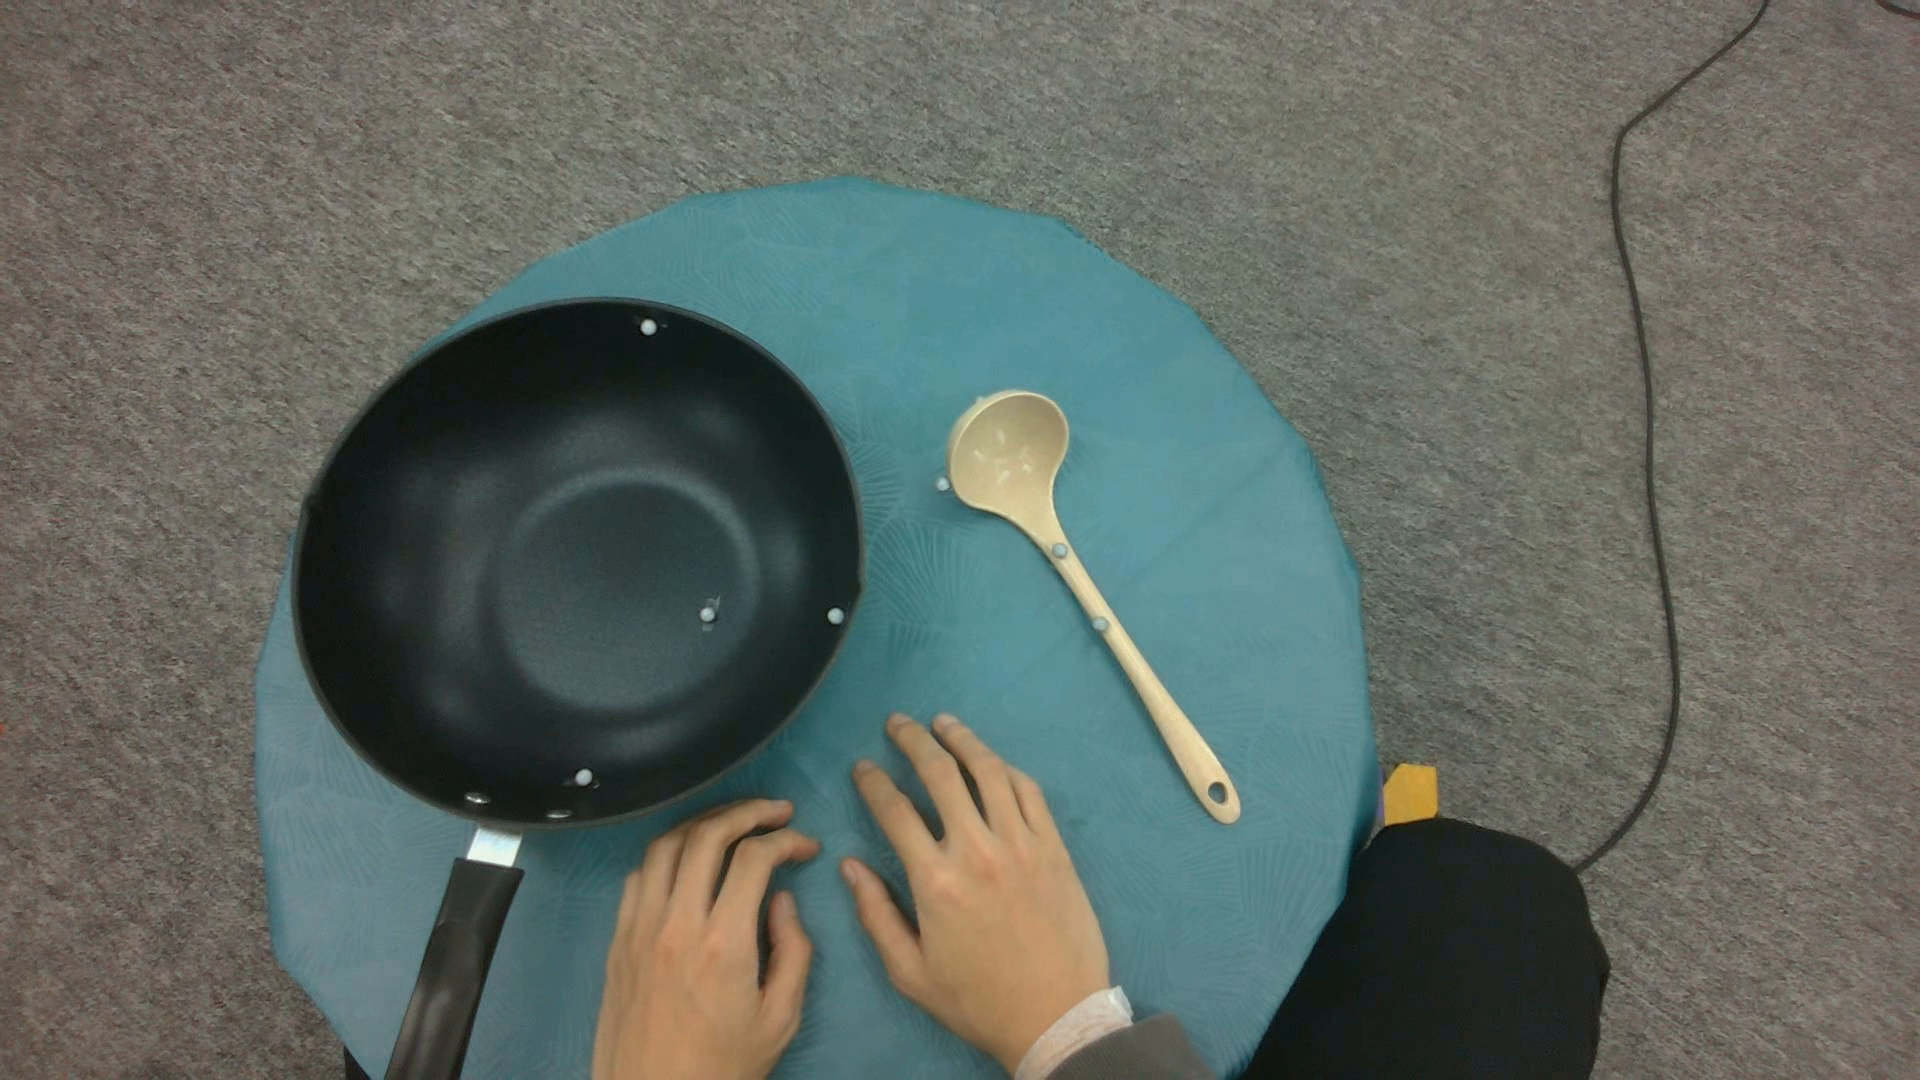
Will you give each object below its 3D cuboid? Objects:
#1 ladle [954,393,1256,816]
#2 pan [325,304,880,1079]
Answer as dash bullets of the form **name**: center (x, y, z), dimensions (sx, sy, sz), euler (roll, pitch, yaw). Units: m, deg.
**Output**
- **ladle**: center (0.084, 0.030, 0.728), dimensions (0.072, 0.072, 0.255), euler (-30, 70, -15)
- **pan**: center (-0.199, 0.102, 0.706), dimensions (0.288, 0.086, 0.464), euler (10, 72, 5)
